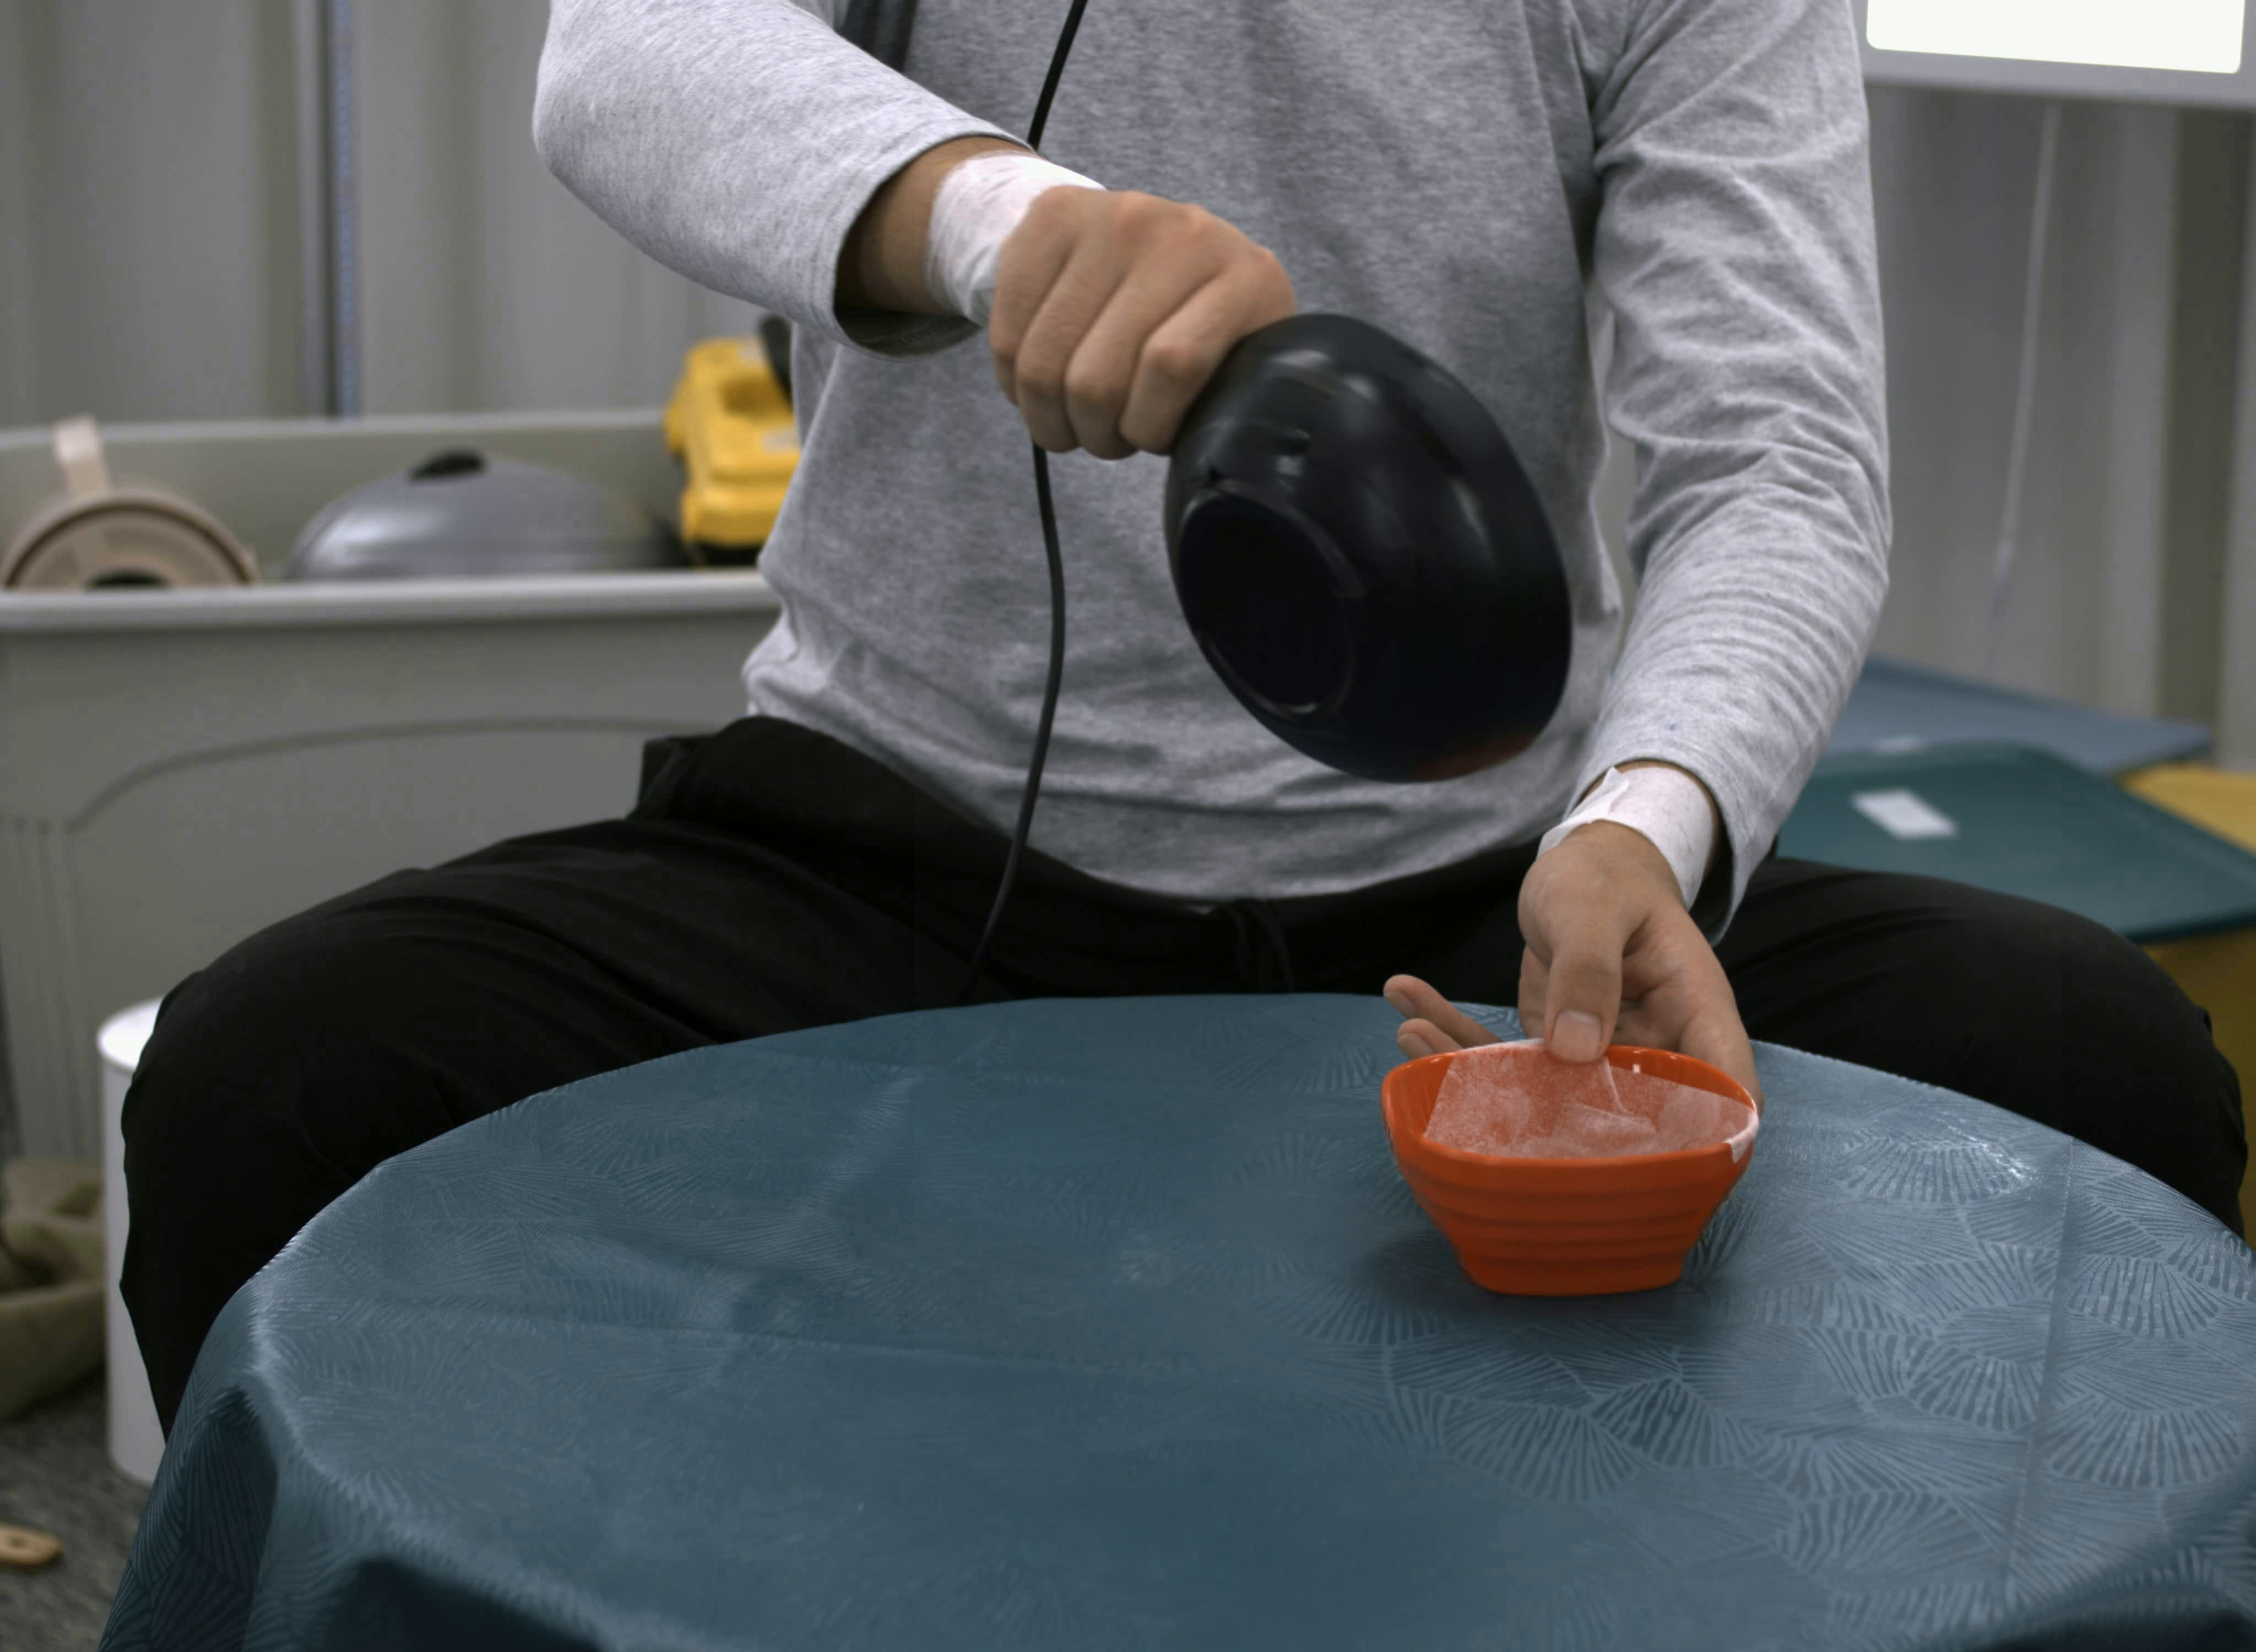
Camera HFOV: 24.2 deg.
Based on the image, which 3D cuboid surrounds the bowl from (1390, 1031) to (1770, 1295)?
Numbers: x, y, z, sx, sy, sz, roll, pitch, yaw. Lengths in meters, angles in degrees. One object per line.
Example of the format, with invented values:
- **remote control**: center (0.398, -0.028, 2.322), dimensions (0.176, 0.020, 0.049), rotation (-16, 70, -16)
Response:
- **bowl**: center (0.133, 0.103, 1.562), dimensions (0.118, 0.052, 0.118), rotation (0, 18, 1)

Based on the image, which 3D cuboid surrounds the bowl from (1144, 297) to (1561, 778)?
- **bowl**: center (0.050, -0.071, 1.434), dimensions (0.138, 0.141, 0.050), rotation (16, 35, 42)
